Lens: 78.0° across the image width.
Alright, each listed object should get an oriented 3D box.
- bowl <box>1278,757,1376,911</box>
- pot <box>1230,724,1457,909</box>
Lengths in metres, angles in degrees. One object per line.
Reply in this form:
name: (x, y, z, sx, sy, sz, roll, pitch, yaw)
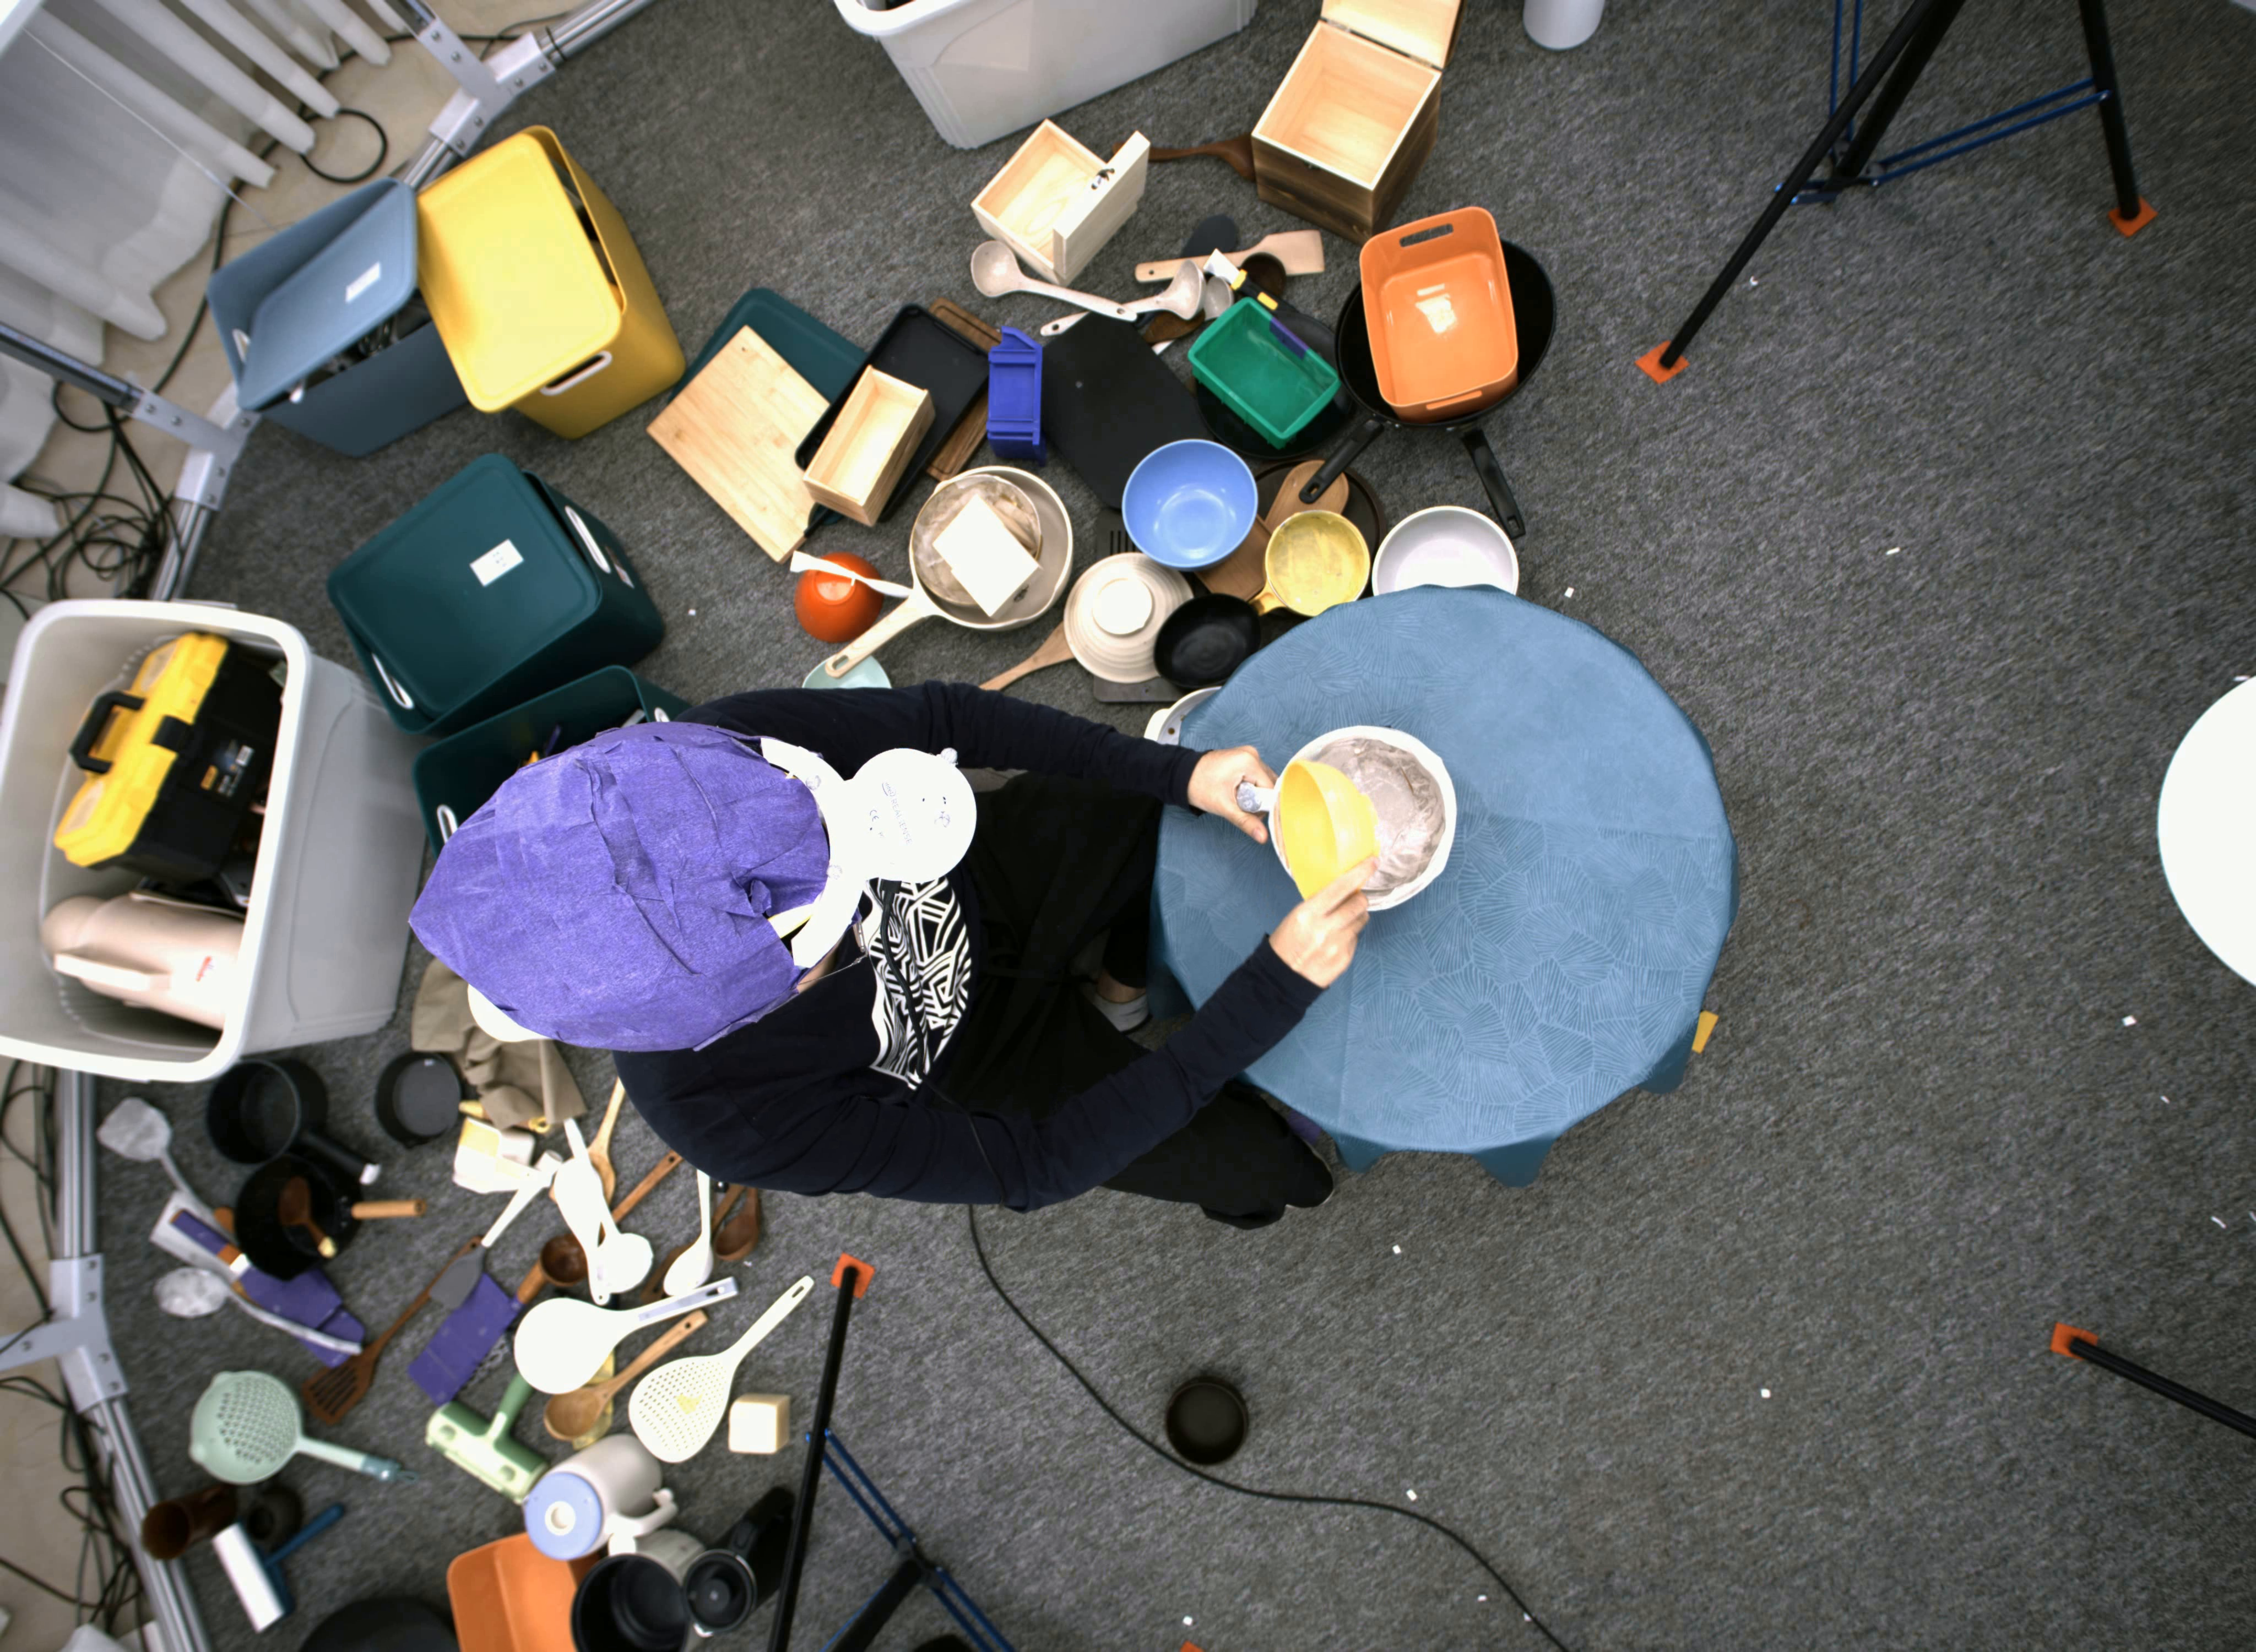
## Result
bowl: (0.189, 0.004, 1.279, 0.060, 0.146, 0.144, -6, 84, -13)
pot: (0.211, -0.018, 1.384, 0.234, 0.135, 0.180, 9, 99, 15)
